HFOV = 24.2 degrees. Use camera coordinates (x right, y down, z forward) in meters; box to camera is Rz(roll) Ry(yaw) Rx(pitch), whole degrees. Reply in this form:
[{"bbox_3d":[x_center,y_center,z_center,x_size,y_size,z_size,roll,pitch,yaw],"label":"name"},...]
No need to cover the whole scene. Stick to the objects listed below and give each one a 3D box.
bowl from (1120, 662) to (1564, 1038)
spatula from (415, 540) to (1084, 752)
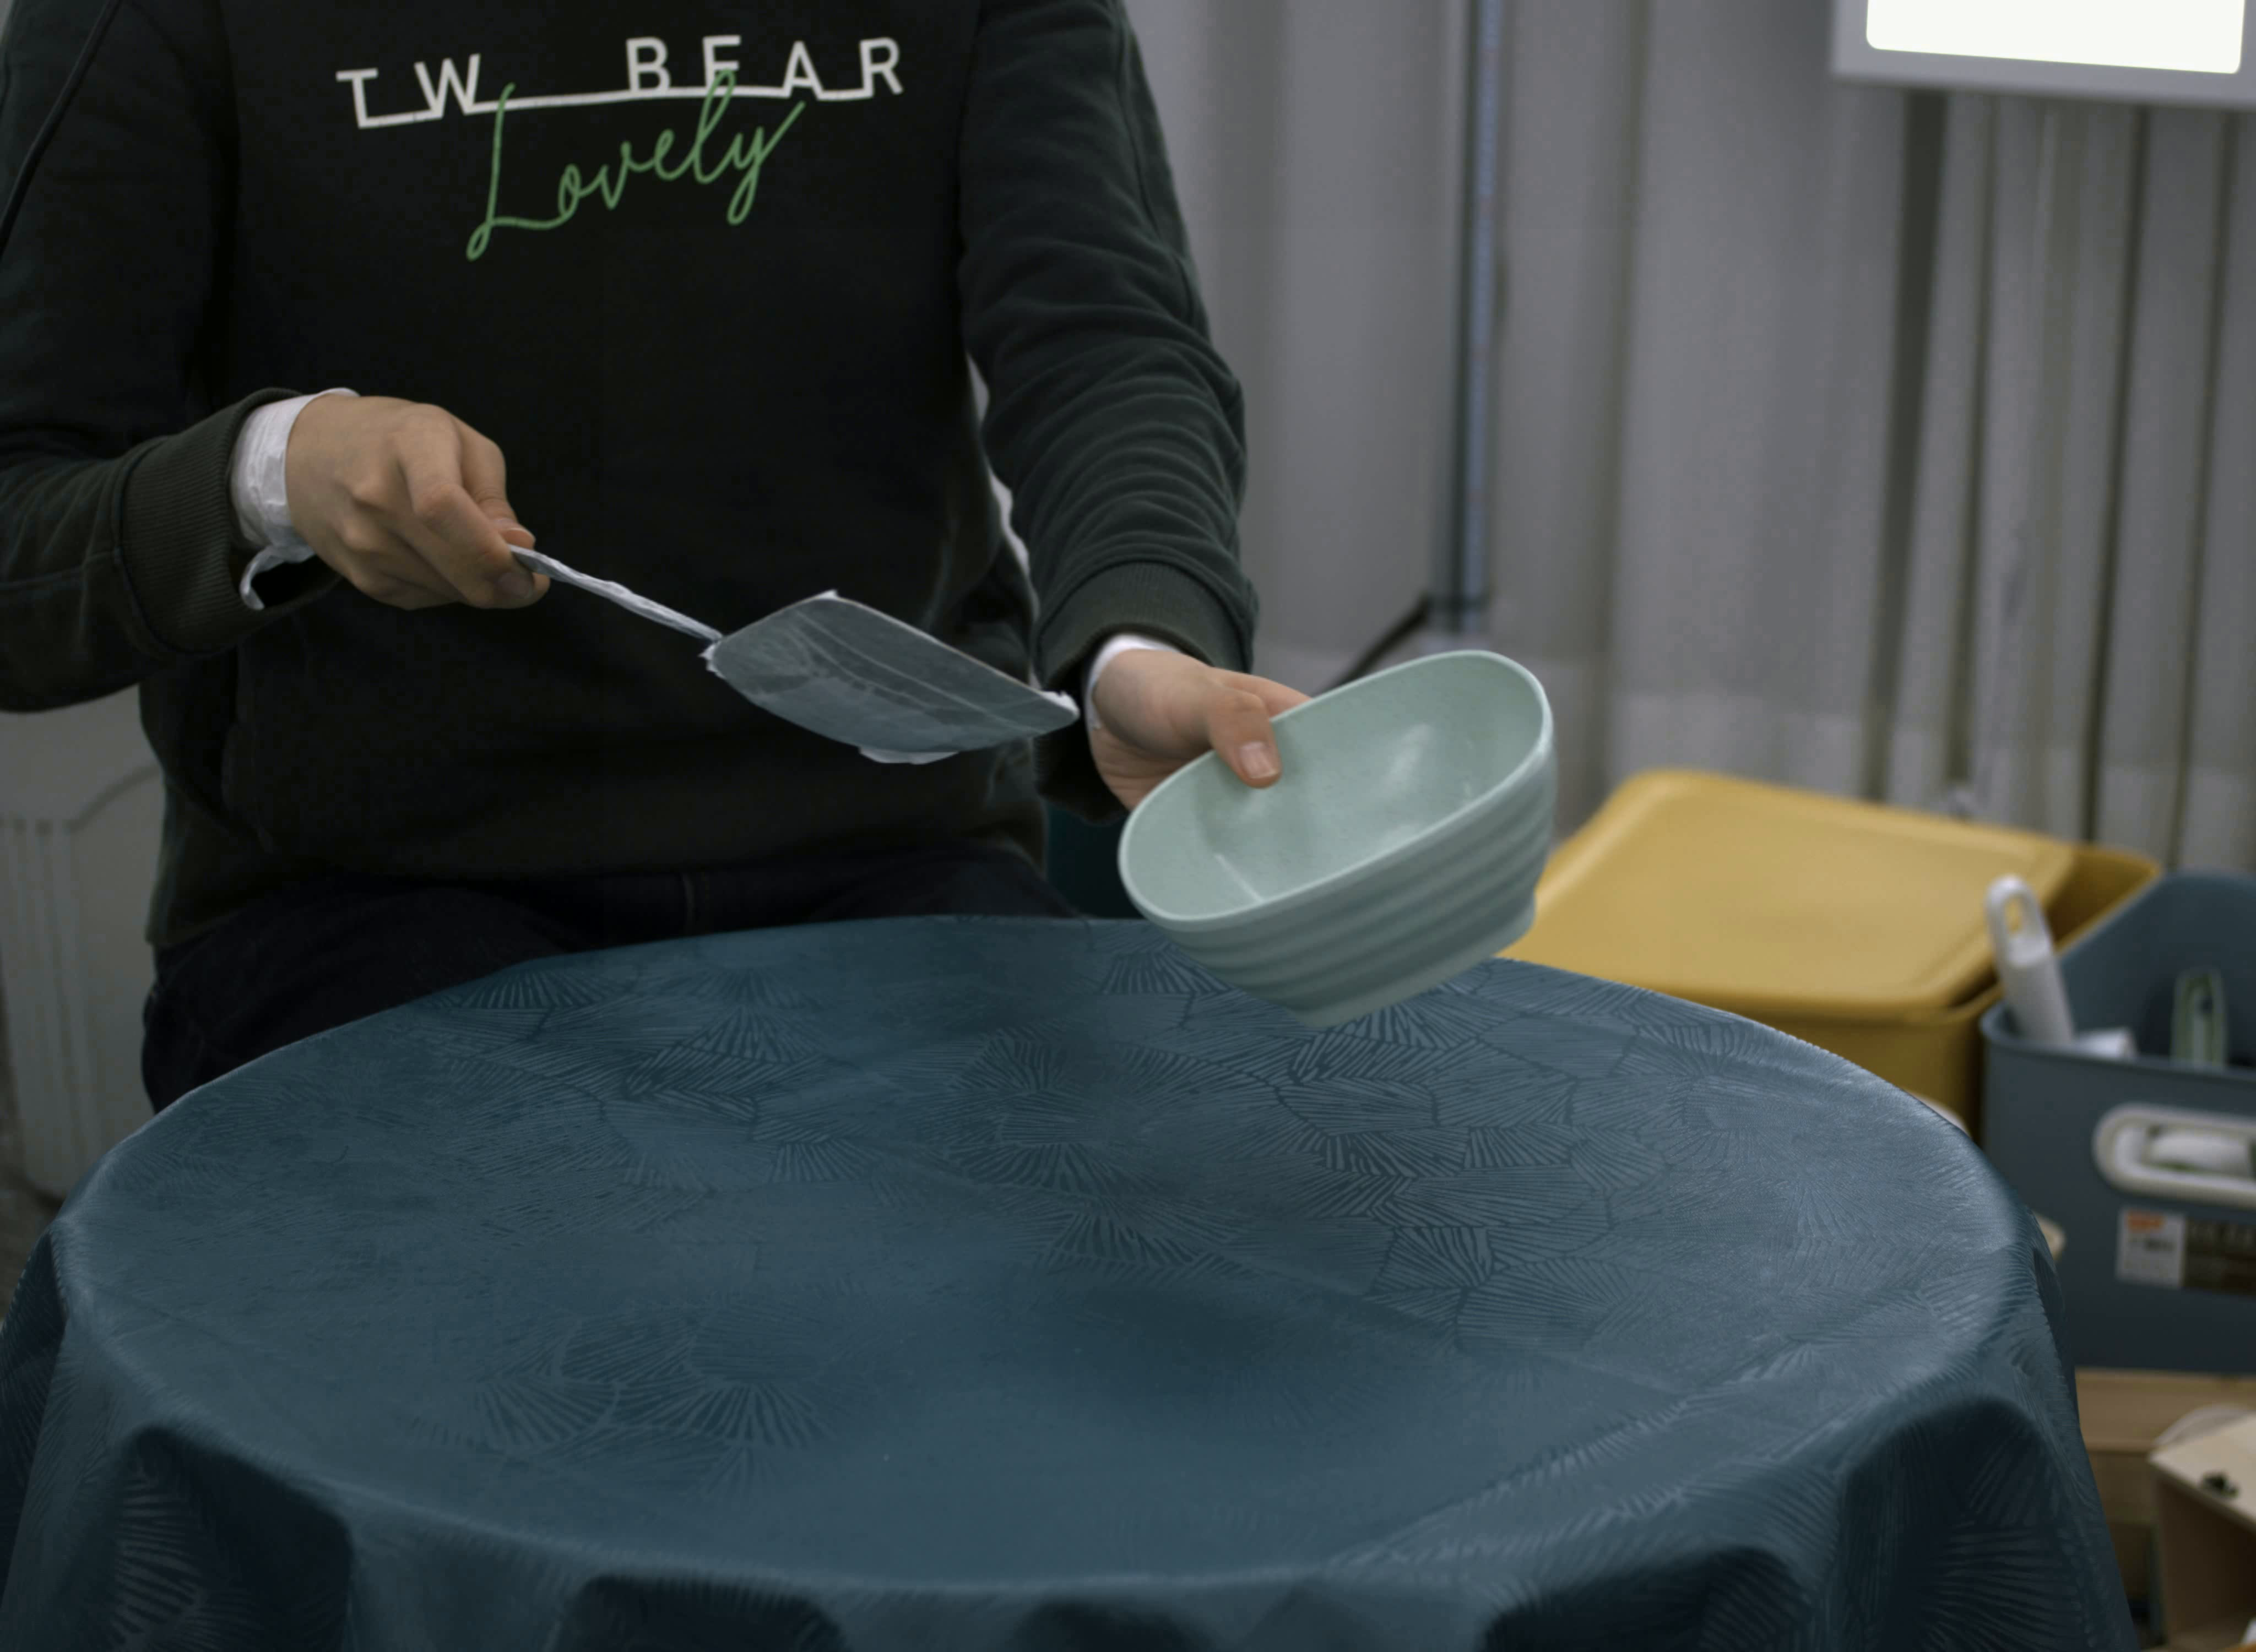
[{"bbox_3d":[0.072,0.013,1.587,0.151,0.059,0.150,-19,23,9],"label":"bowl"},{"bbox_3d":[-0.141,-0.069,1.633,0.100,0.045,0.360,23,0,-35],"label":"spatula"}]
